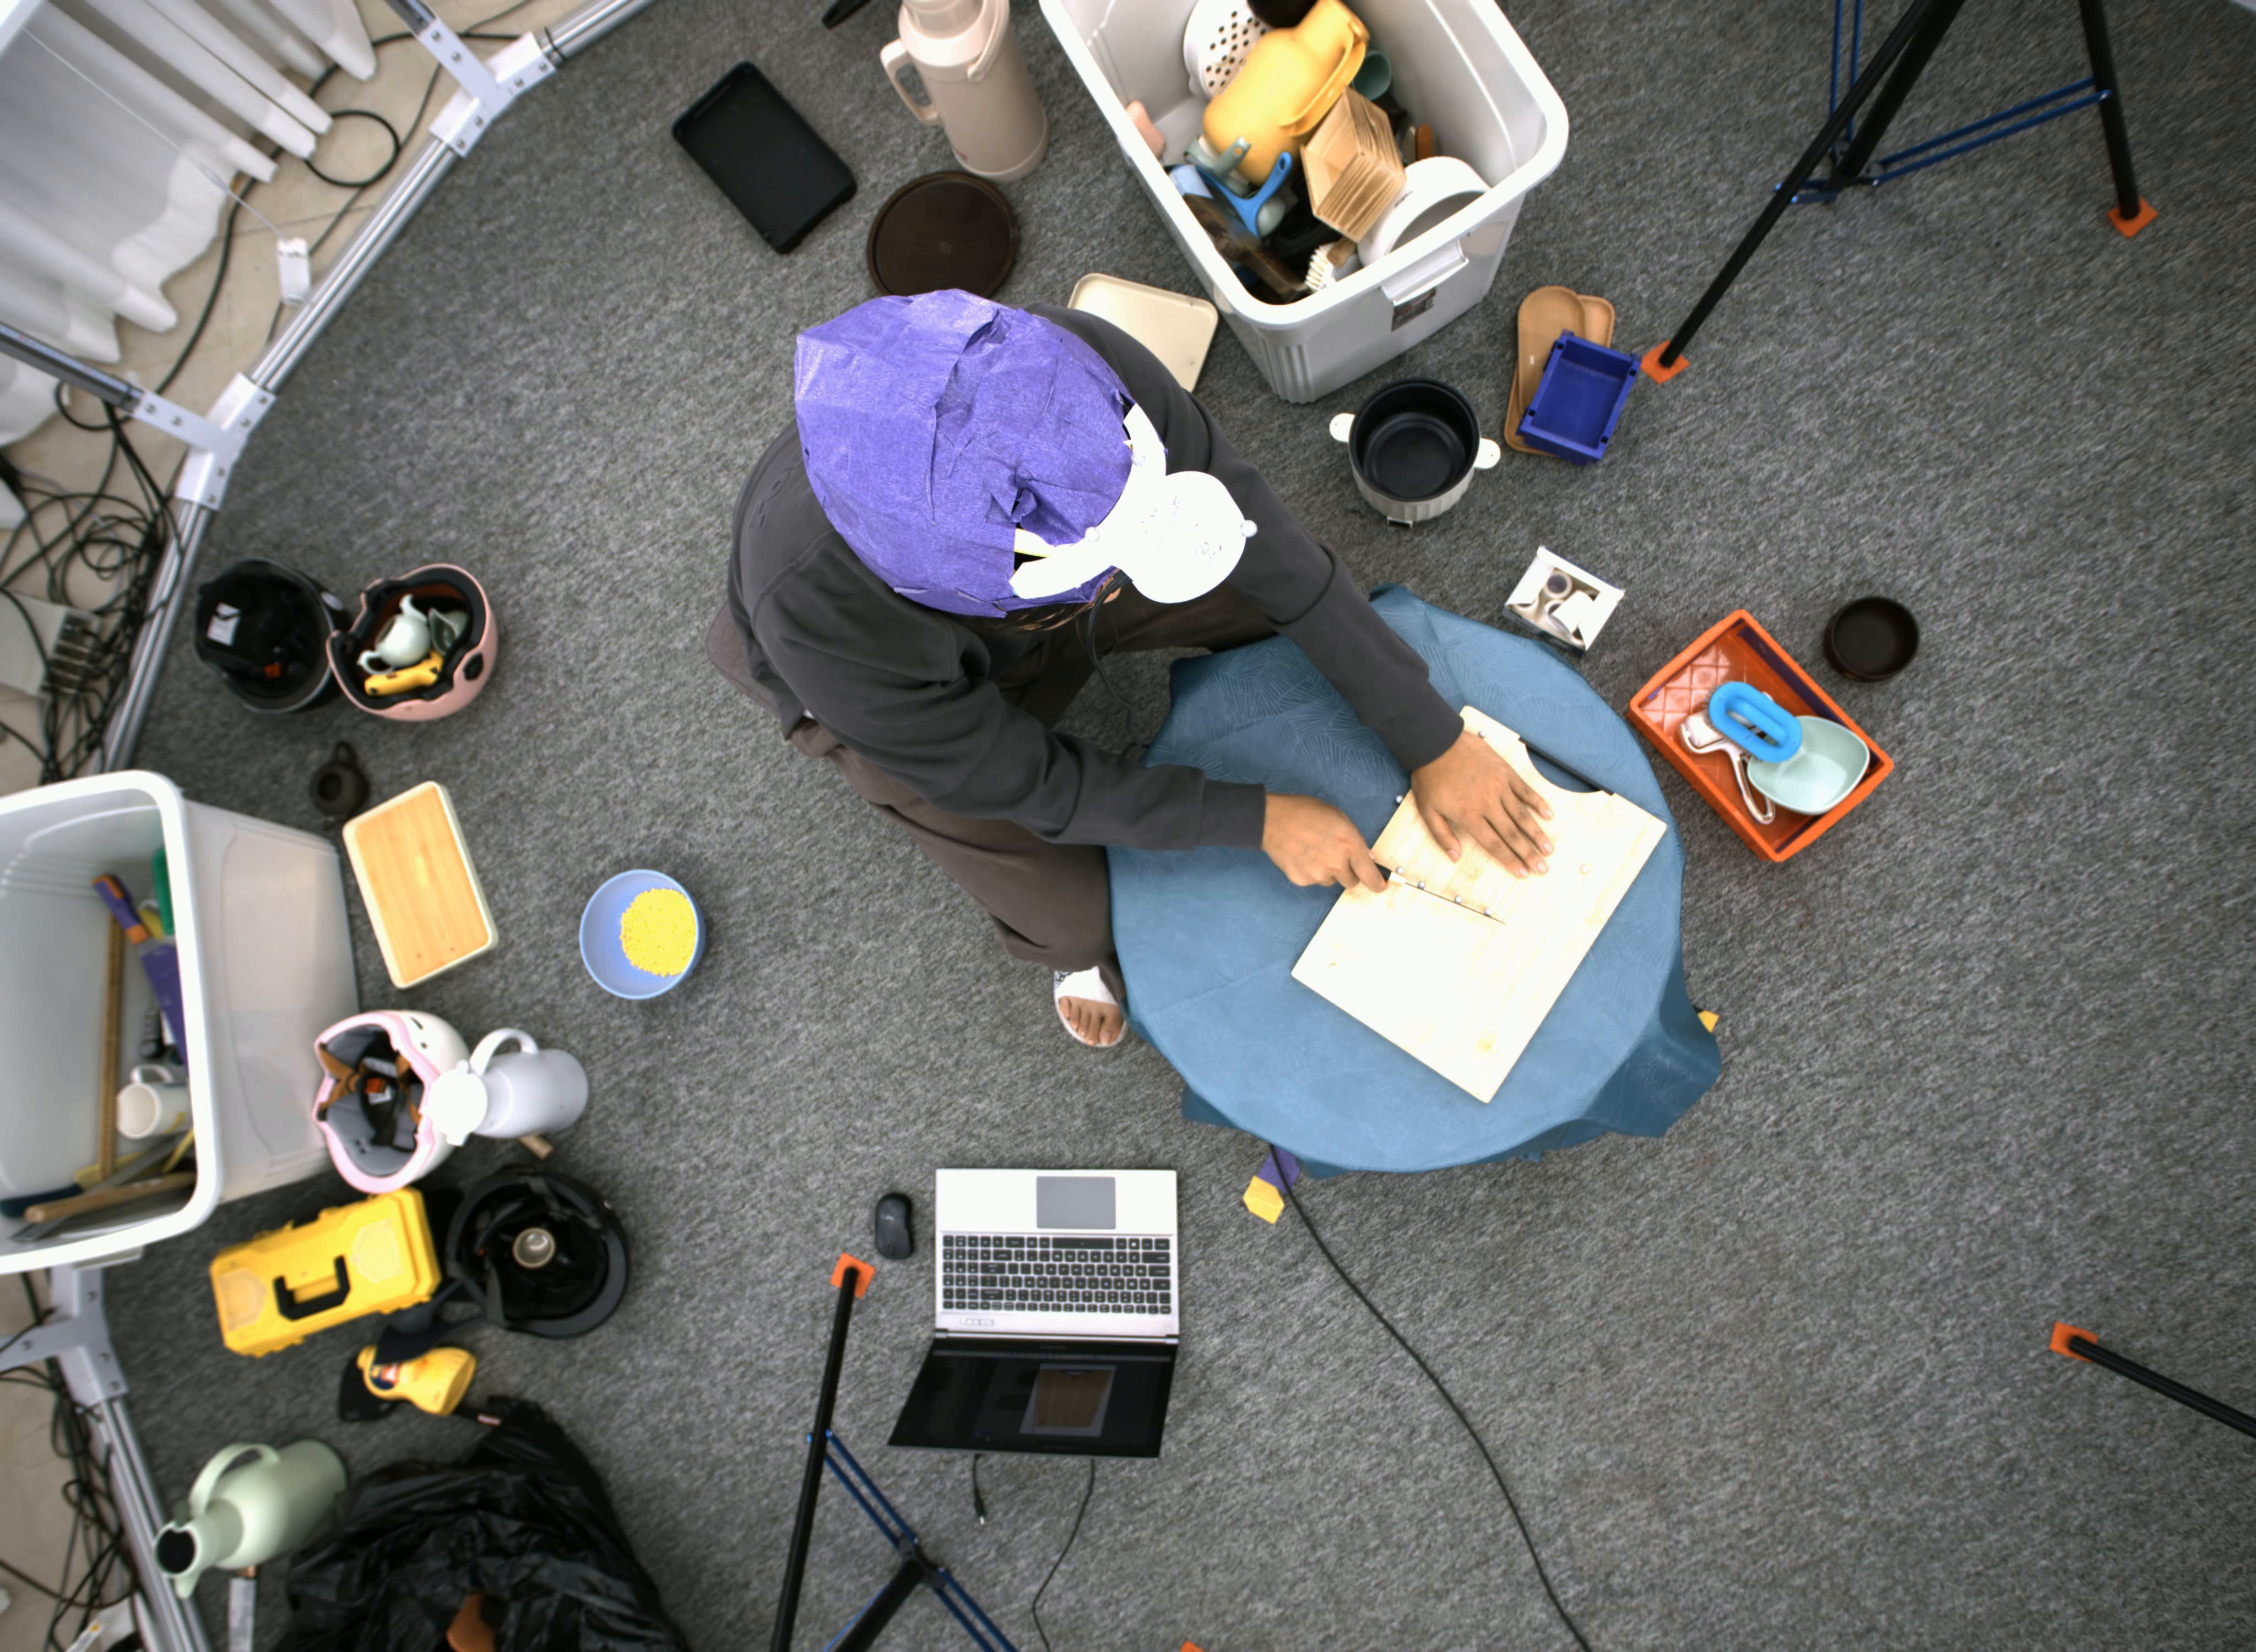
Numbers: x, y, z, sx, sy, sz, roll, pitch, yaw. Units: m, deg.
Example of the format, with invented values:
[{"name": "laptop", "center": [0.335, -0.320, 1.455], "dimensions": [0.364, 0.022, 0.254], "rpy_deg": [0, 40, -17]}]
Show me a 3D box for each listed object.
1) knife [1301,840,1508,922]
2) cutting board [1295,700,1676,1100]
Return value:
[{"name": "knife", "center": [0.285, 0.057, 1.423], "dimensions": [0.225, 0.026, 0.017], "rpy_deg": [20, 91, 7]}, {"name": "cutting board", "center": [0.367, 0.072, 1.434], "dimensions": [0.250, 0.023, 0.349], "rpy_deg": [32, 93, 11]}]
